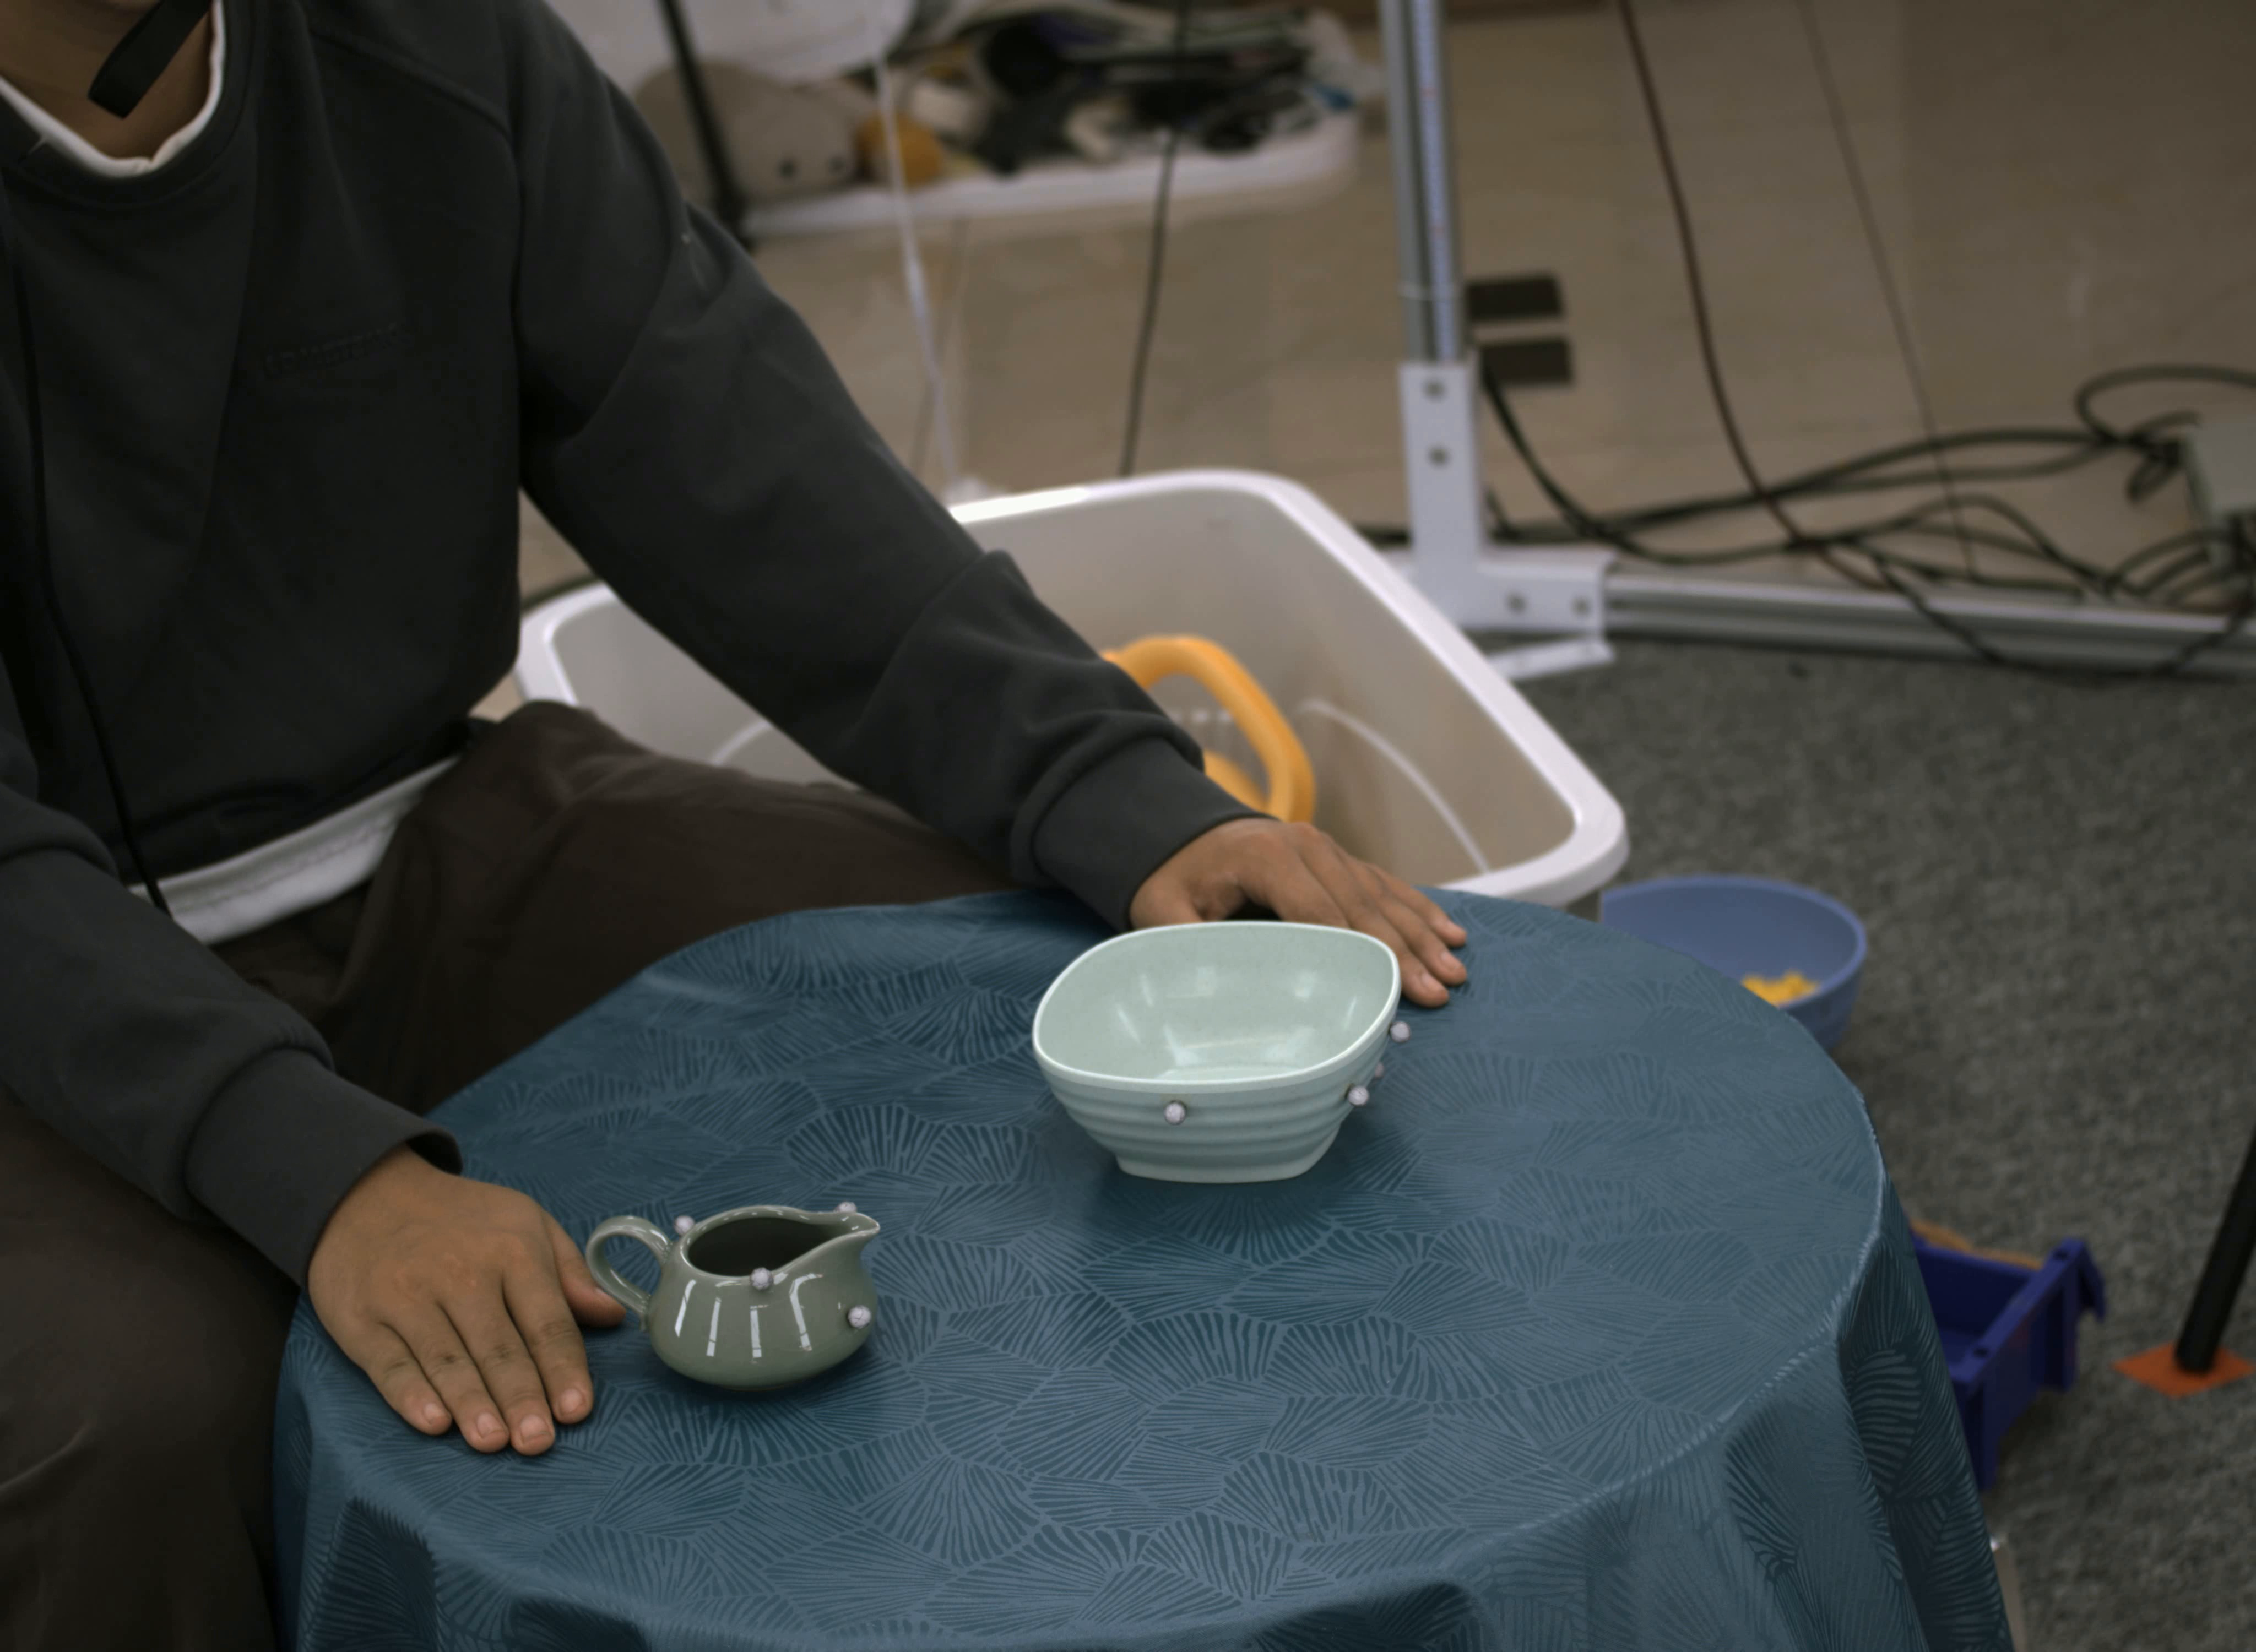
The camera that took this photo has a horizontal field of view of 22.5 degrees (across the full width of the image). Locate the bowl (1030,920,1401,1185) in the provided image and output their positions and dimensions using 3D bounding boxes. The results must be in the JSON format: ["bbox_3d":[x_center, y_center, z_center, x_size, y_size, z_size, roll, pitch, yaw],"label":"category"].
[{"bbox_3d":[0.036,0.092,2.174,0.151,0.059,0.149,-4,26,2],"label":"bowl"}]

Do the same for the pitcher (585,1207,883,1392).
[{"bbox_3d":[-0.140,0.168,2.054,0.112,0.057,0.083,-2,25,12],"label":"pitcher"}]
